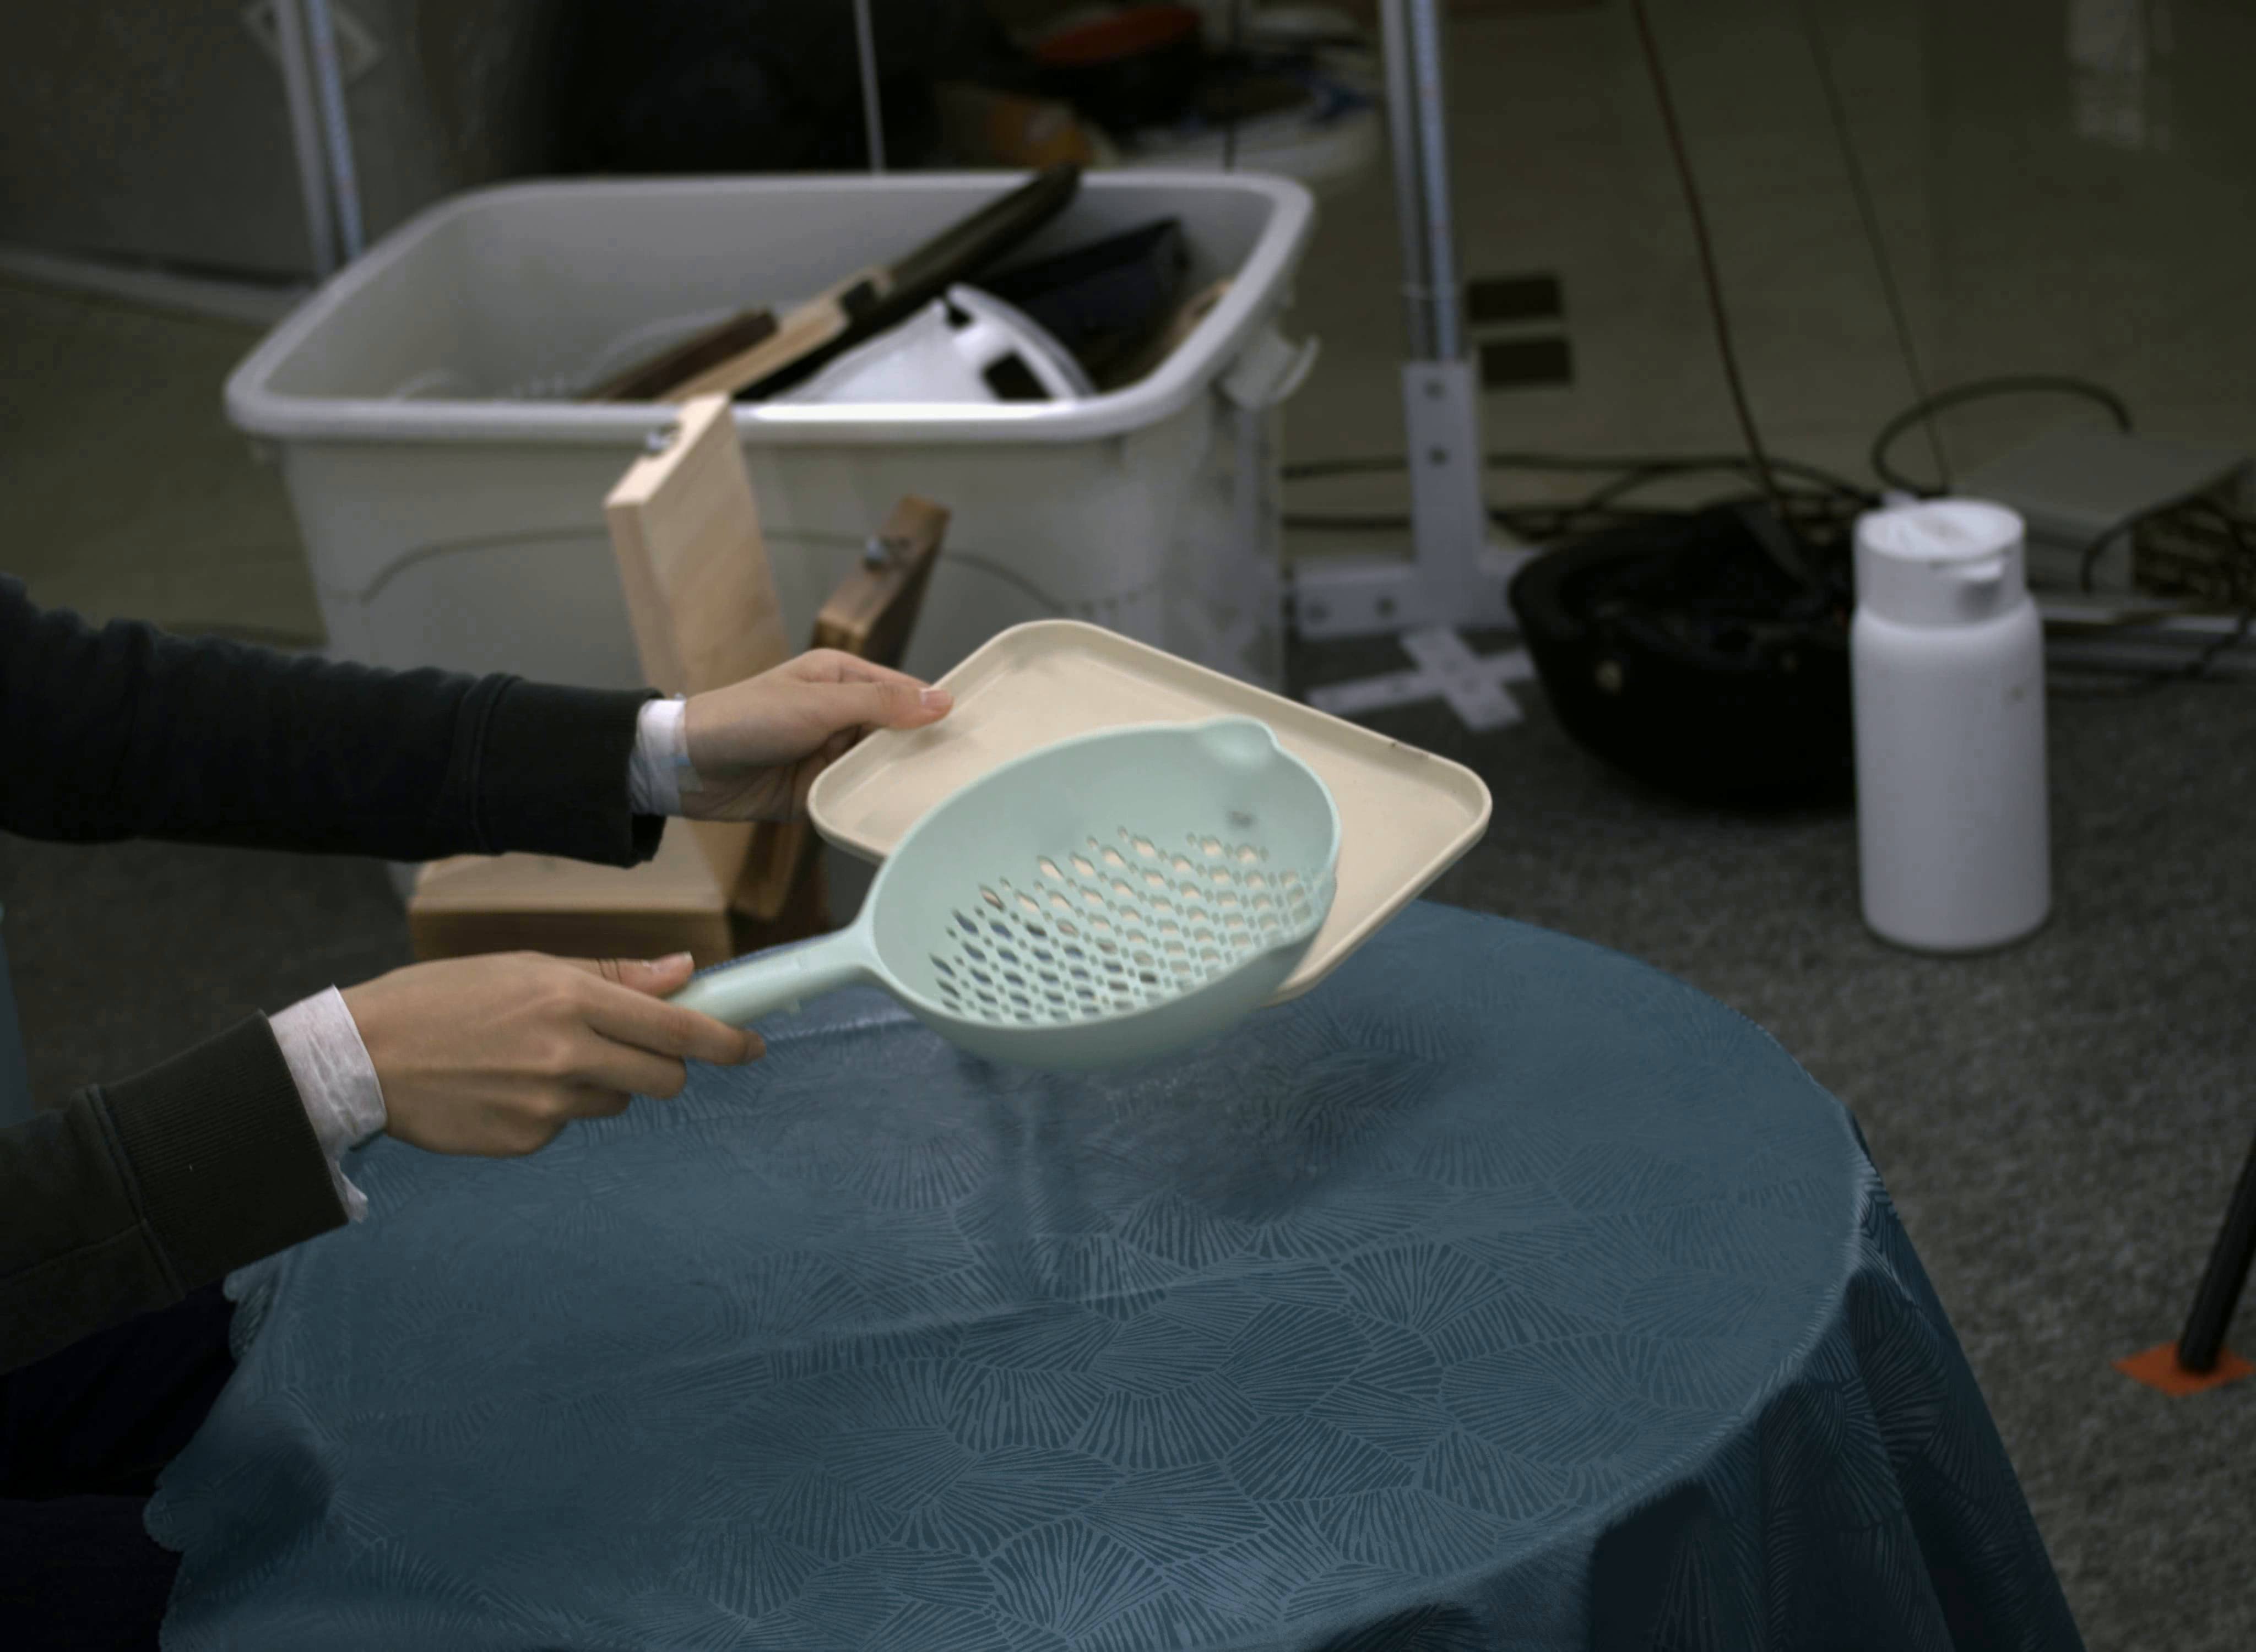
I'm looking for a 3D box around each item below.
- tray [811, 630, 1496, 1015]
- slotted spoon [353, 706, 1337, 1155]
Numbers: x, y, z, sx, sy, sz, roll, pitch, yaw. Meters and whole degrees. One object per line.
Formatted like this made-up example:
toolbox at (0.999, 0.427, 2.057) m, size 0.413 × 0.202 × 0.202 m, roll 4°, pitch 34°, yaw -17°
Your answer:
tray at (0.009, -0.002, 2.201) m, size 0.238 × 0.018 × 0.169 m, roll 22°, pitch 44°, yaw 31°
slotted spoon at (-0.100, 0.051, 1.985) m, size 0.358 × 0.077 × 0.166 m, roll -10°, pitch 34°, yaw -4°
